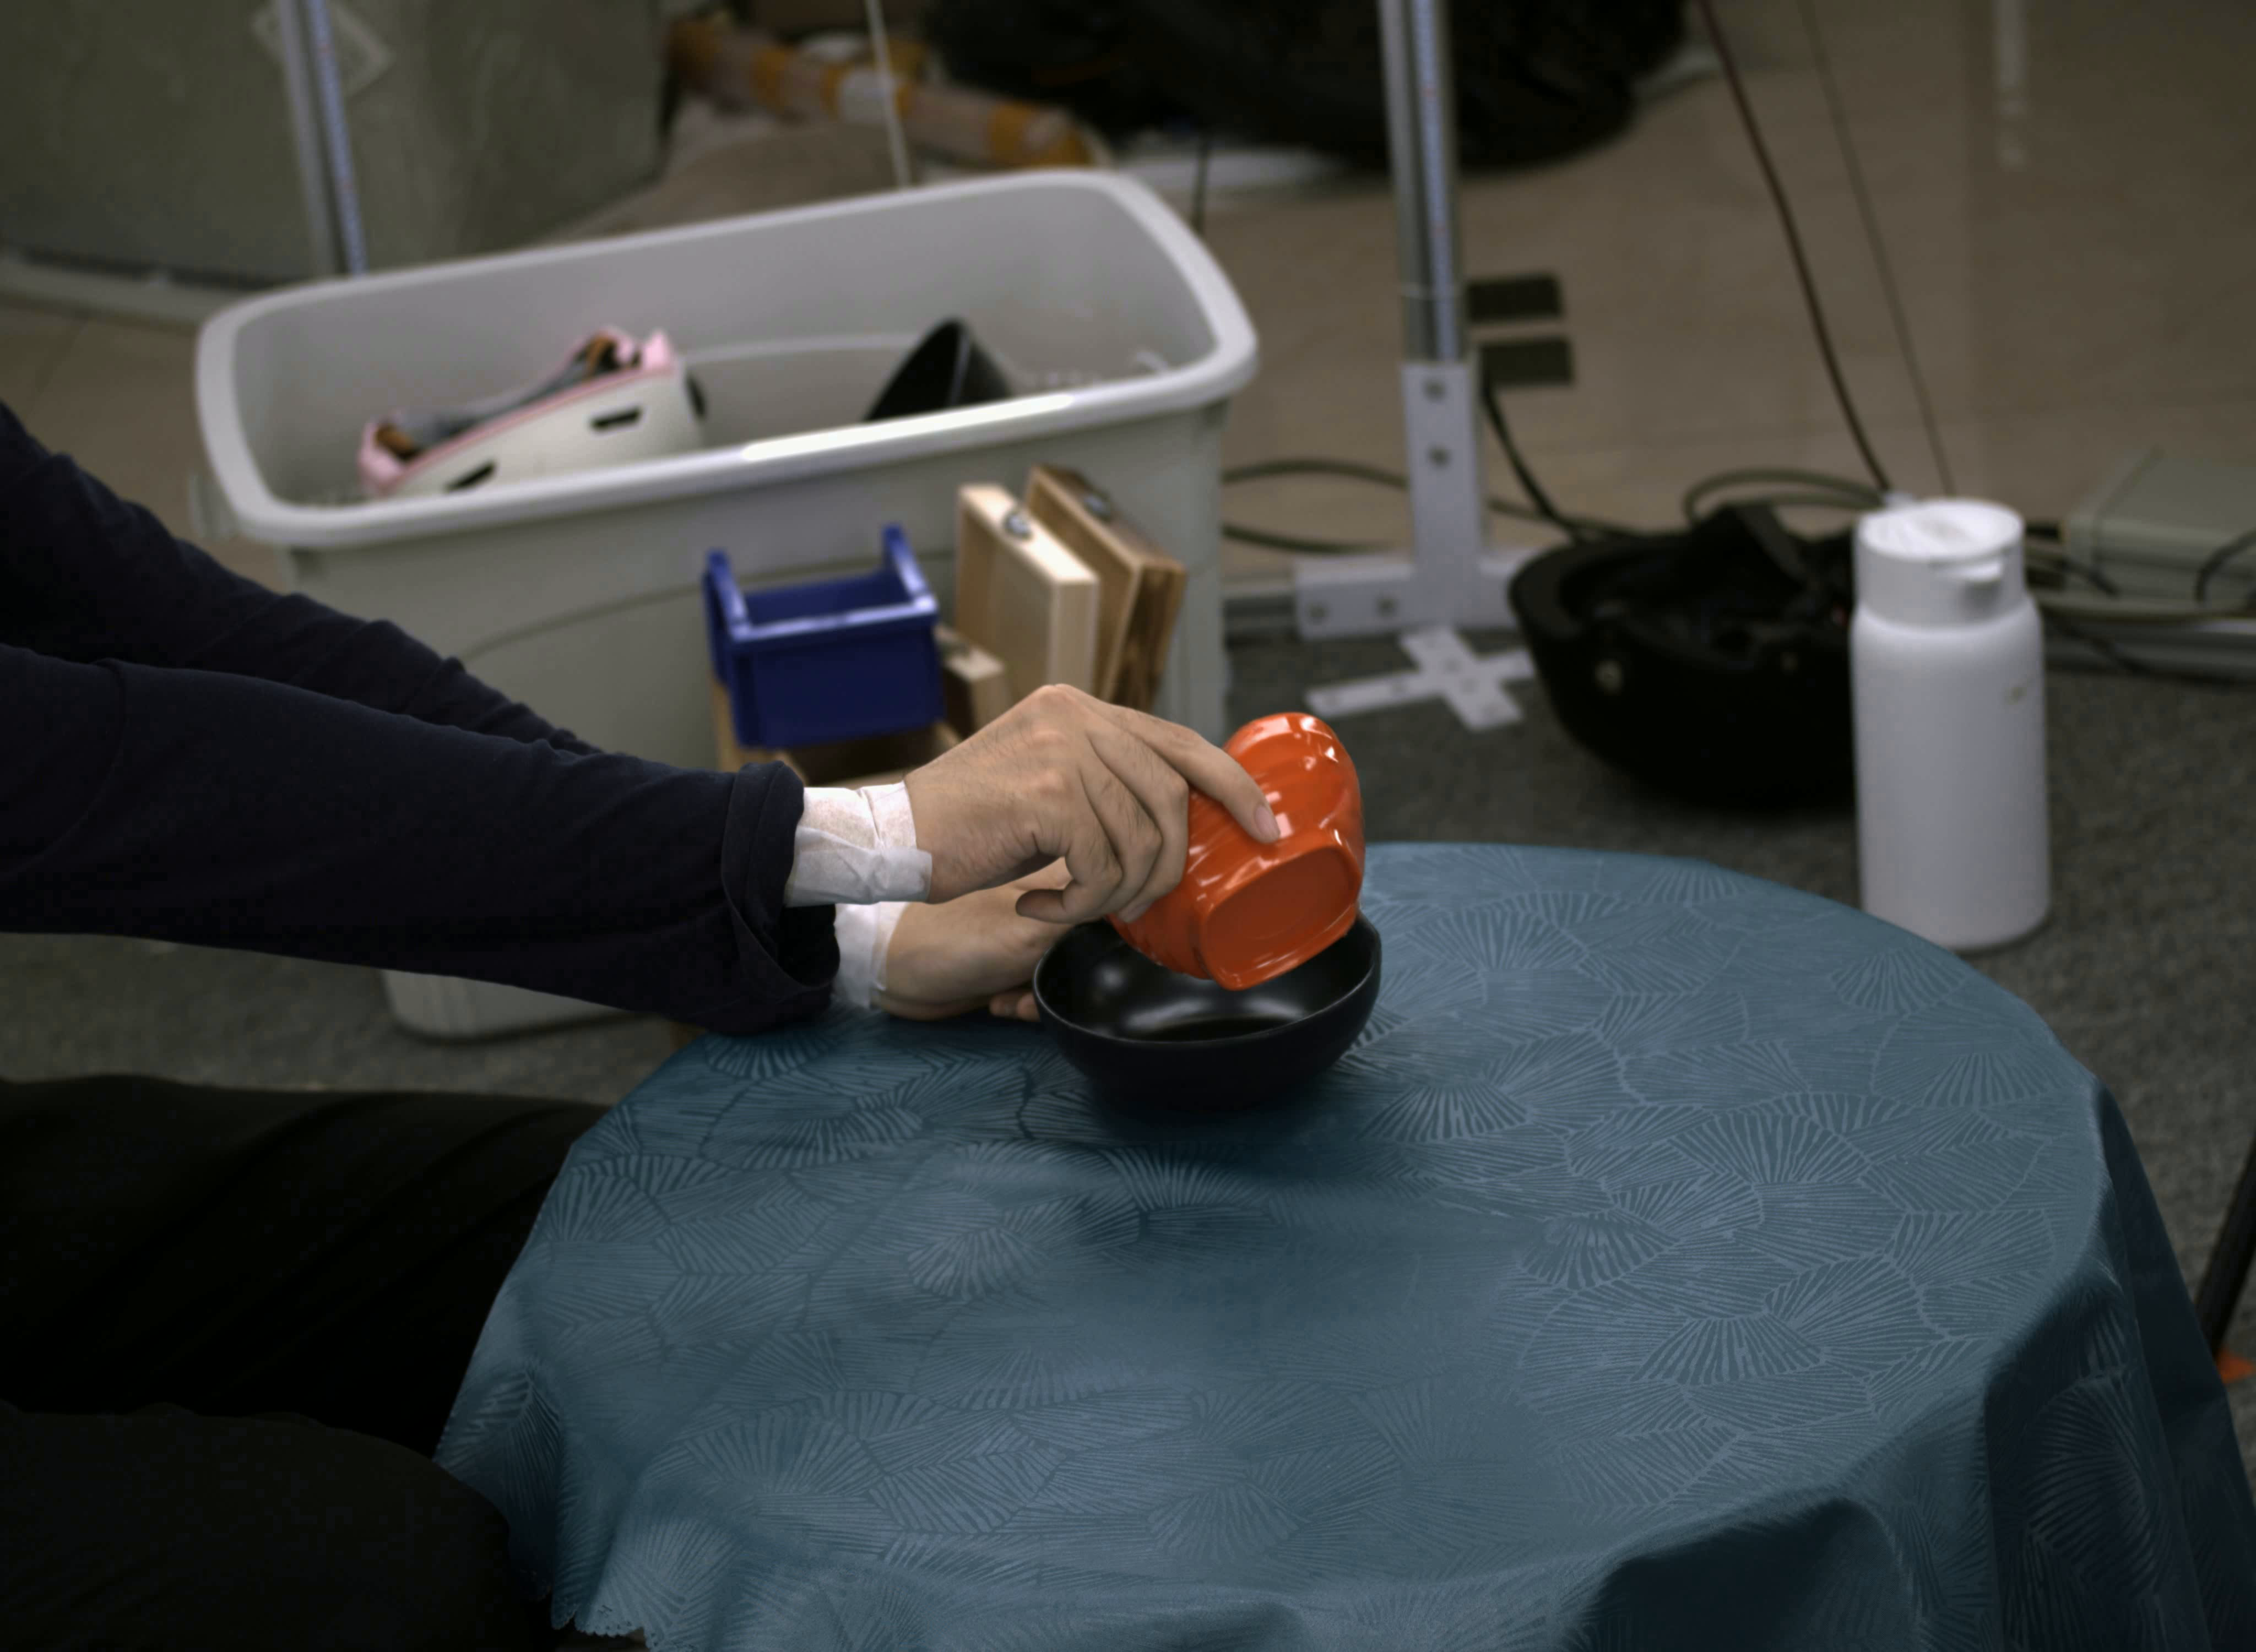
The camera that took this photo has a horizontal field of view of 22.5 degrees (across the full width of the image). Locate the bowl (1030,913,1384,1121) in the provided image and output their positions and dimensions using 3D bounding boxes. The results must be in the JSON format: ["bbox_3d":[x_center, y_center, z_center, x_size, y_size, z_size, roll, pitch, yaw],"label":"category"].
[{"bbox_3d":[0.034,0.078,2.223,0.140,0.050,0.138,-9,24,4],"label":"bowl"}]

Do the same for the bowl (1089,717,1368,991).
[{"bbox_3d":[0.046,0.018,2.114,0.118,0.121,0.050,-16,56,-21],"label":"bowl"}]
